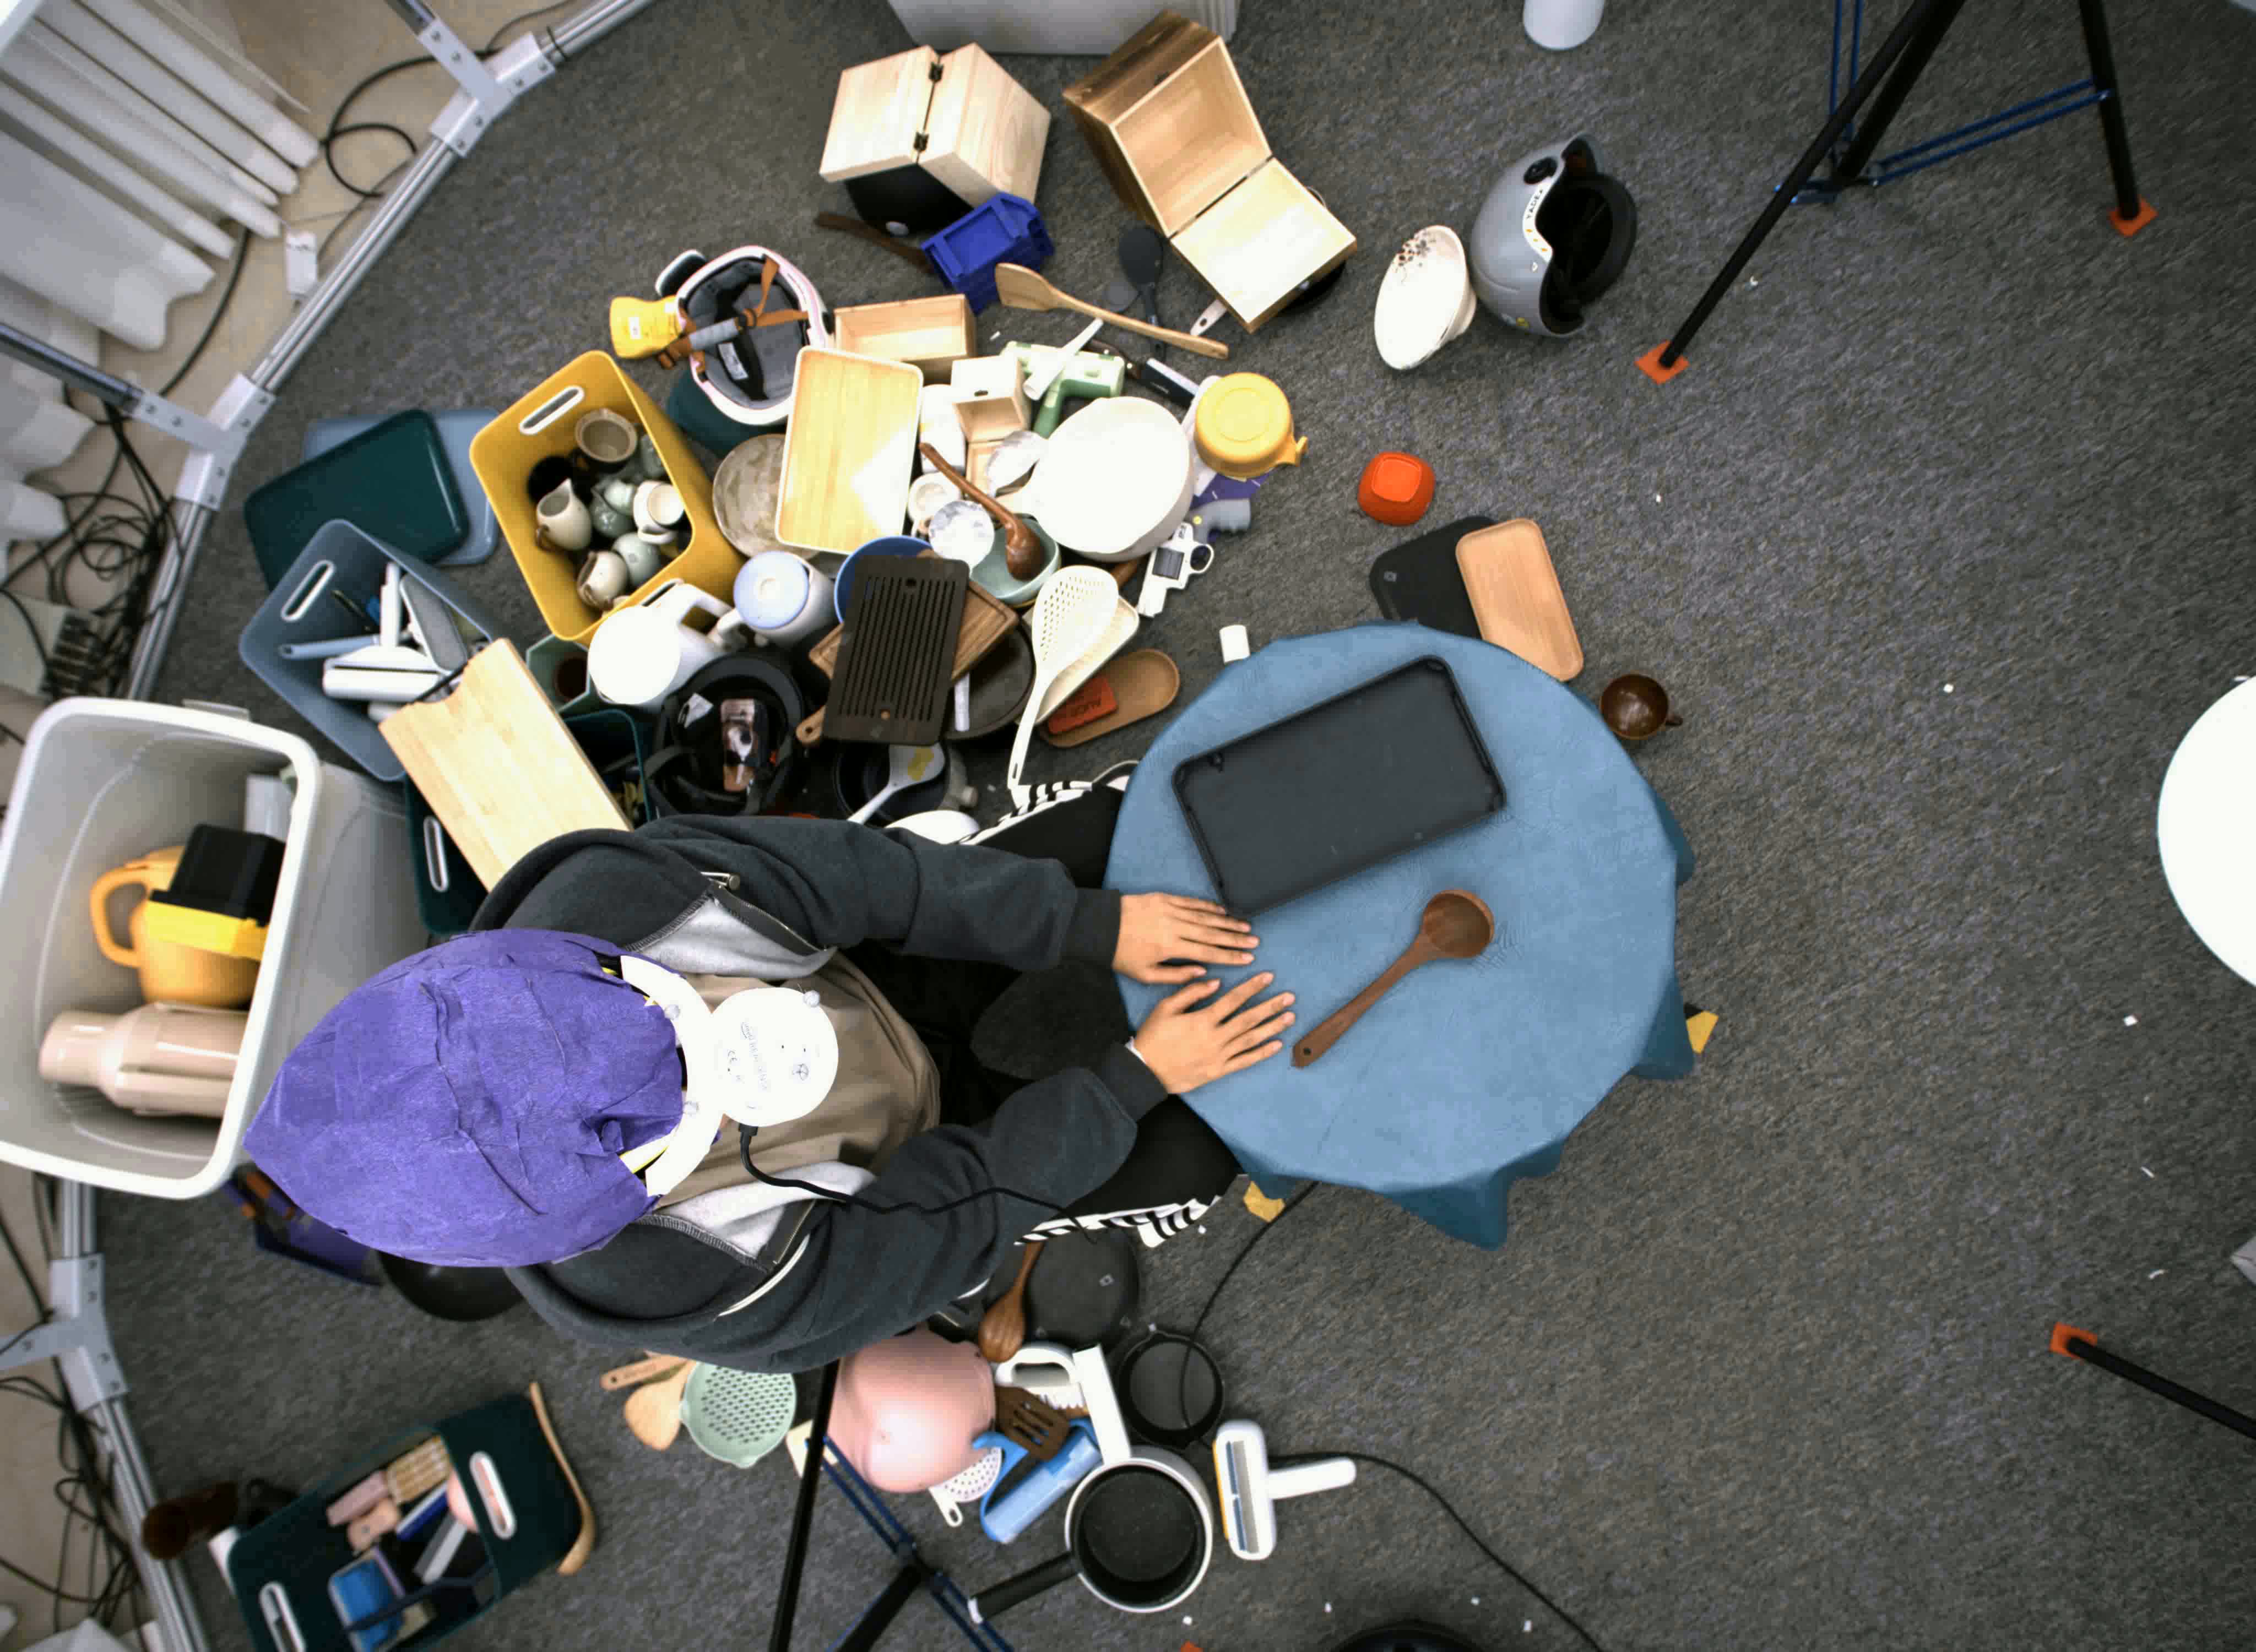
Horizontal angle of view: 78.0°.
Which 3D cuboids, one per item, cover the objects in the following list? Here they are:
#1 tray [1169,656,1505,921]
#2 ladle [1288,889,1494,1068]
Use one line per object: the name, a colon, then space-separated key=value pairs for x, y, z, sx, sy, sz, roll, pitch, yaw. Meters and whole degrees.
tray: x=0.218 y=-0.039 z=1.454 sx=0.319 sy=0.037 sz=0.183 roll=-23 pitch=83 yaw=7
ladle: x=0.266 y=0.162 z=1.423 sx=0.261 sy=0.065 sz=0.076 roll=-41 pitch=82 yaw=6
